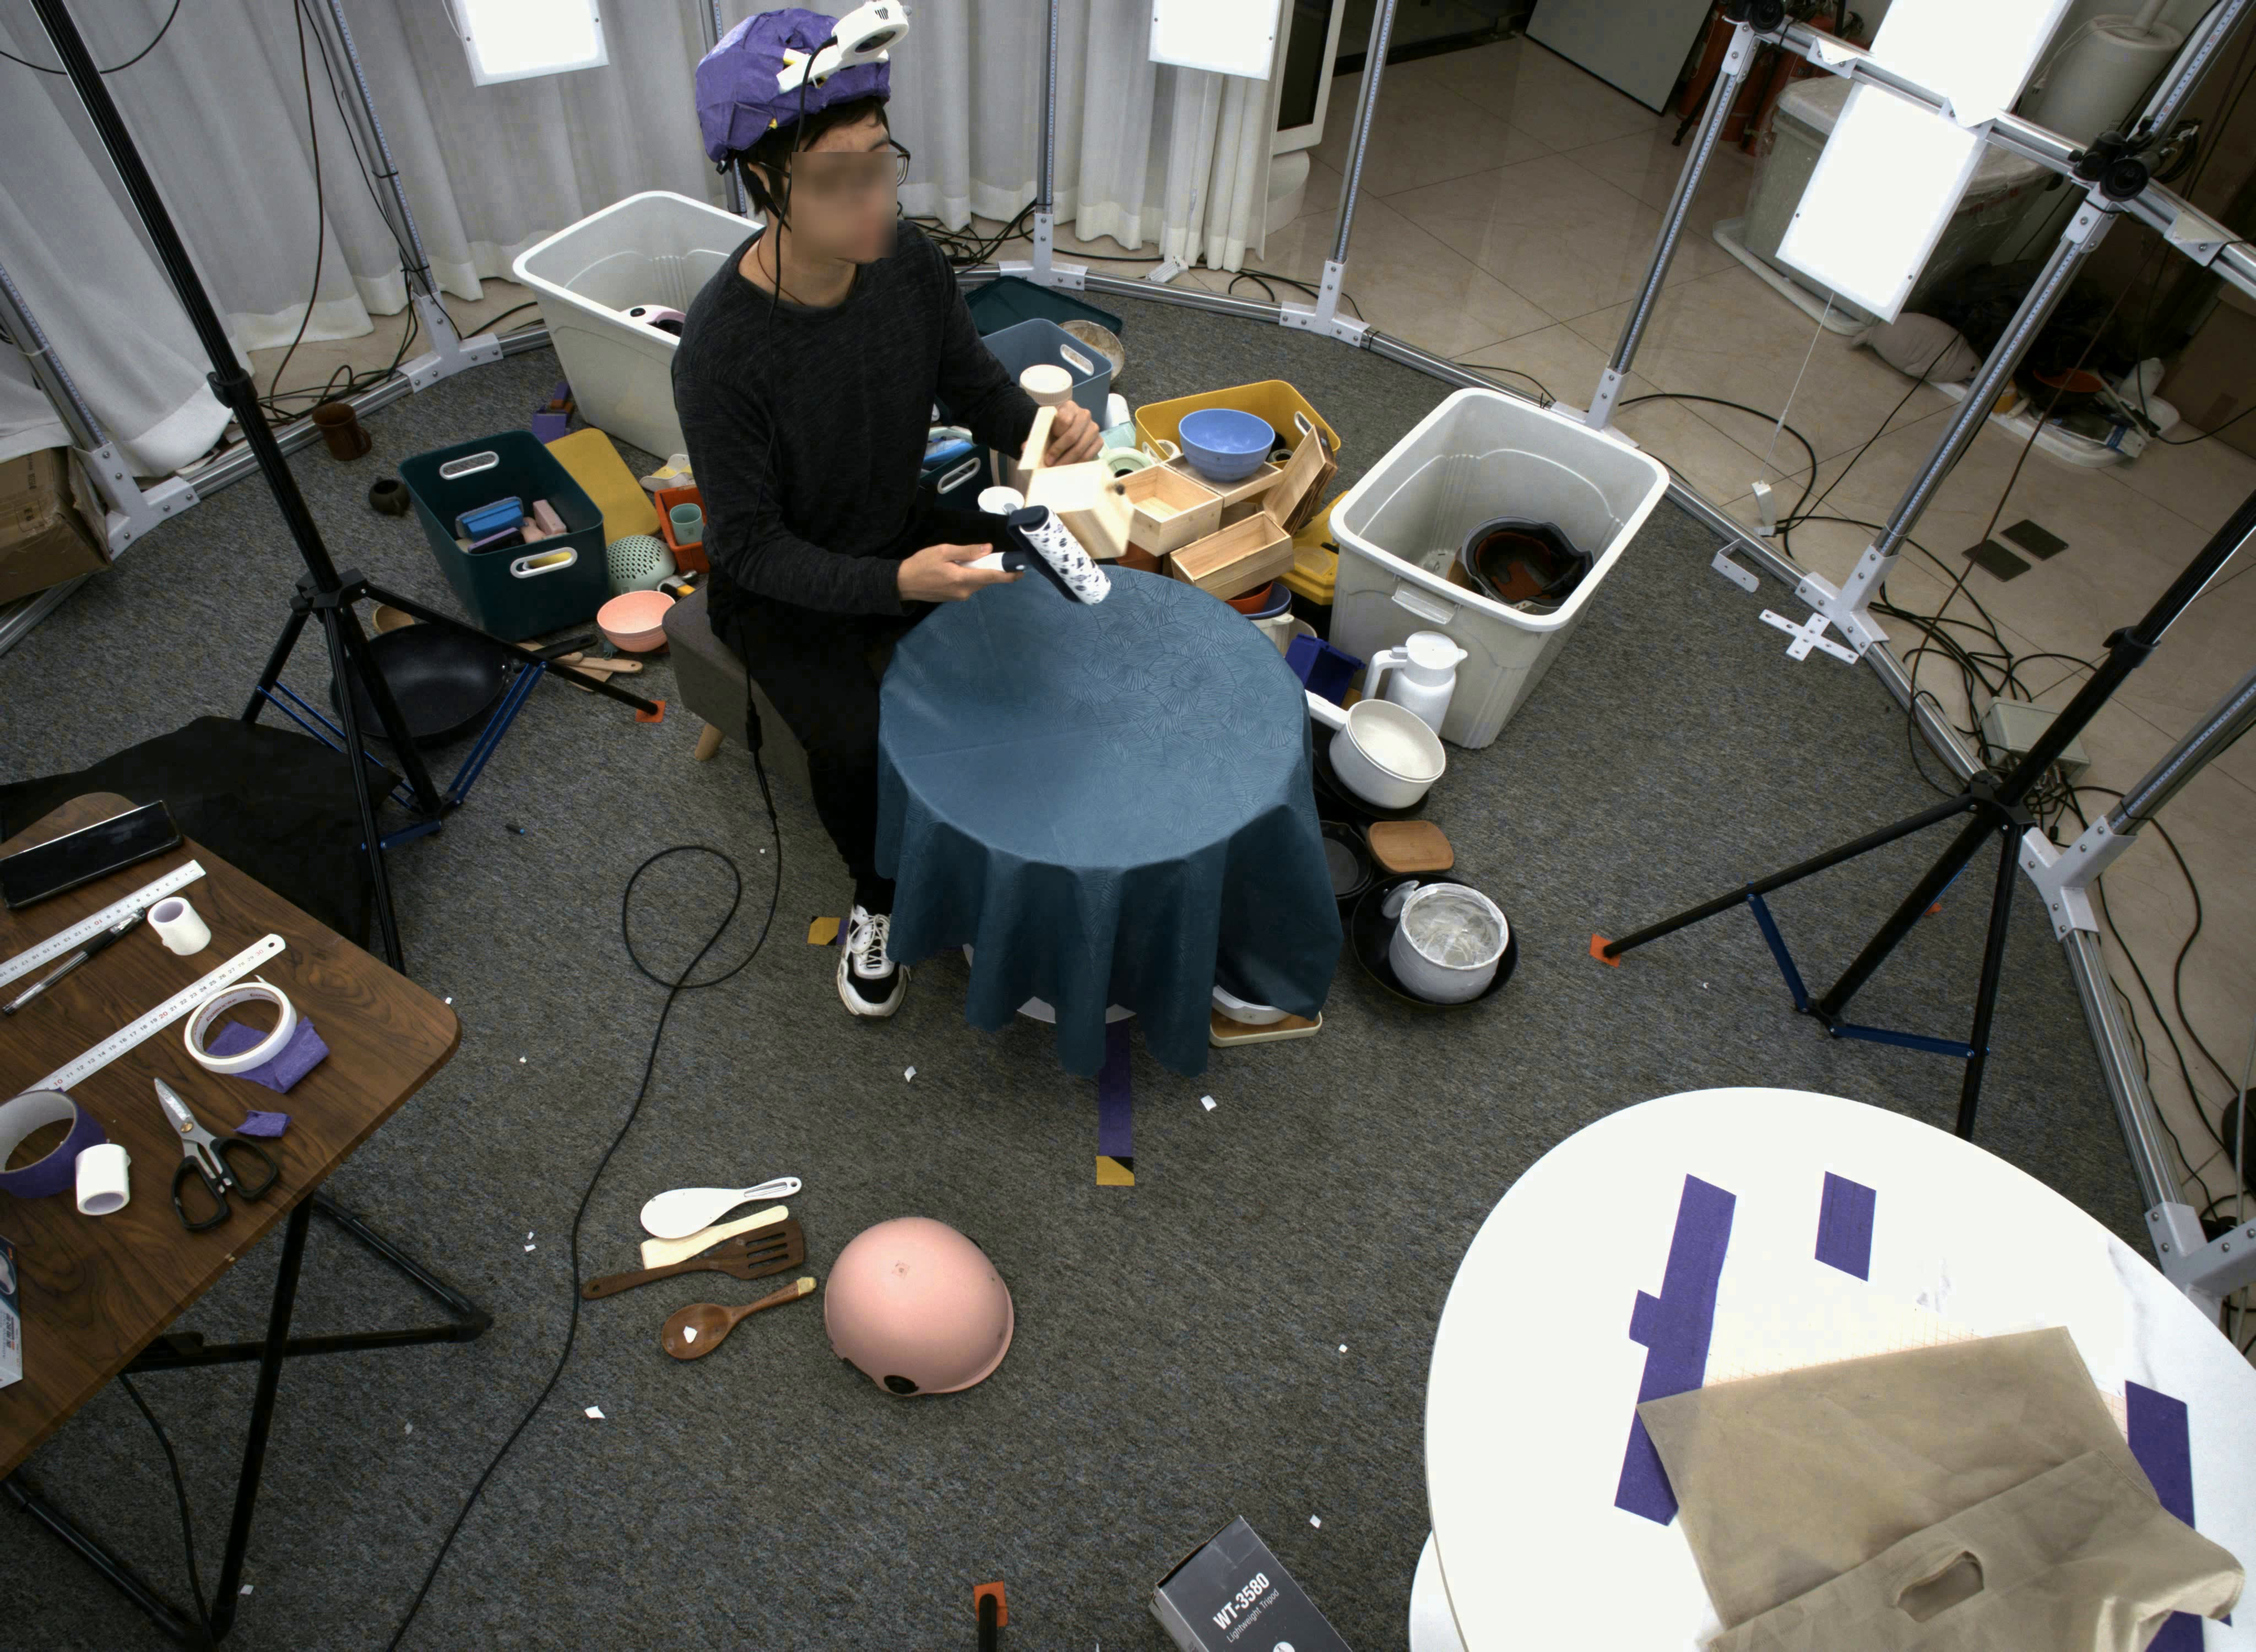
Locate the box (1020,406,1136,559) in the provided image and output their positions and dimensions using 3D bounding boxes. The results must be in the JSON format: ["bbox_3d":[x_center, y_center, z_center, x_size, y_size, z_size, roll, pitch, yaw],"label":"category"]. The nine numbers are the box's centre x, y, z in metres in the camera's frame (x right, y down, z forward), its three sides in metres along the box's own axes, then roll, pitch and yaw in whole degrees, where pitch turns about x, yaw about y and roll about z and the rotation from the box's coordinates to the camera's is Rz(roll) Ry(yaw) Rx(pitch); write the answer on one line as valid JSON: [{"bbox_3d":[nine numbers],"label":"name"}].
[{"bbox_3d":[-0.059,-0.453,1.688,0.134,0.100,0.188,-2,62,25],"label":"box"}]

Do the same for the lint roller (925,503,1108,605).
[{"bbox_3d":[-0.168,-0.343,1.699,0.247,0.173,0.051,-3,63,31],"label":"lint roller"}]
